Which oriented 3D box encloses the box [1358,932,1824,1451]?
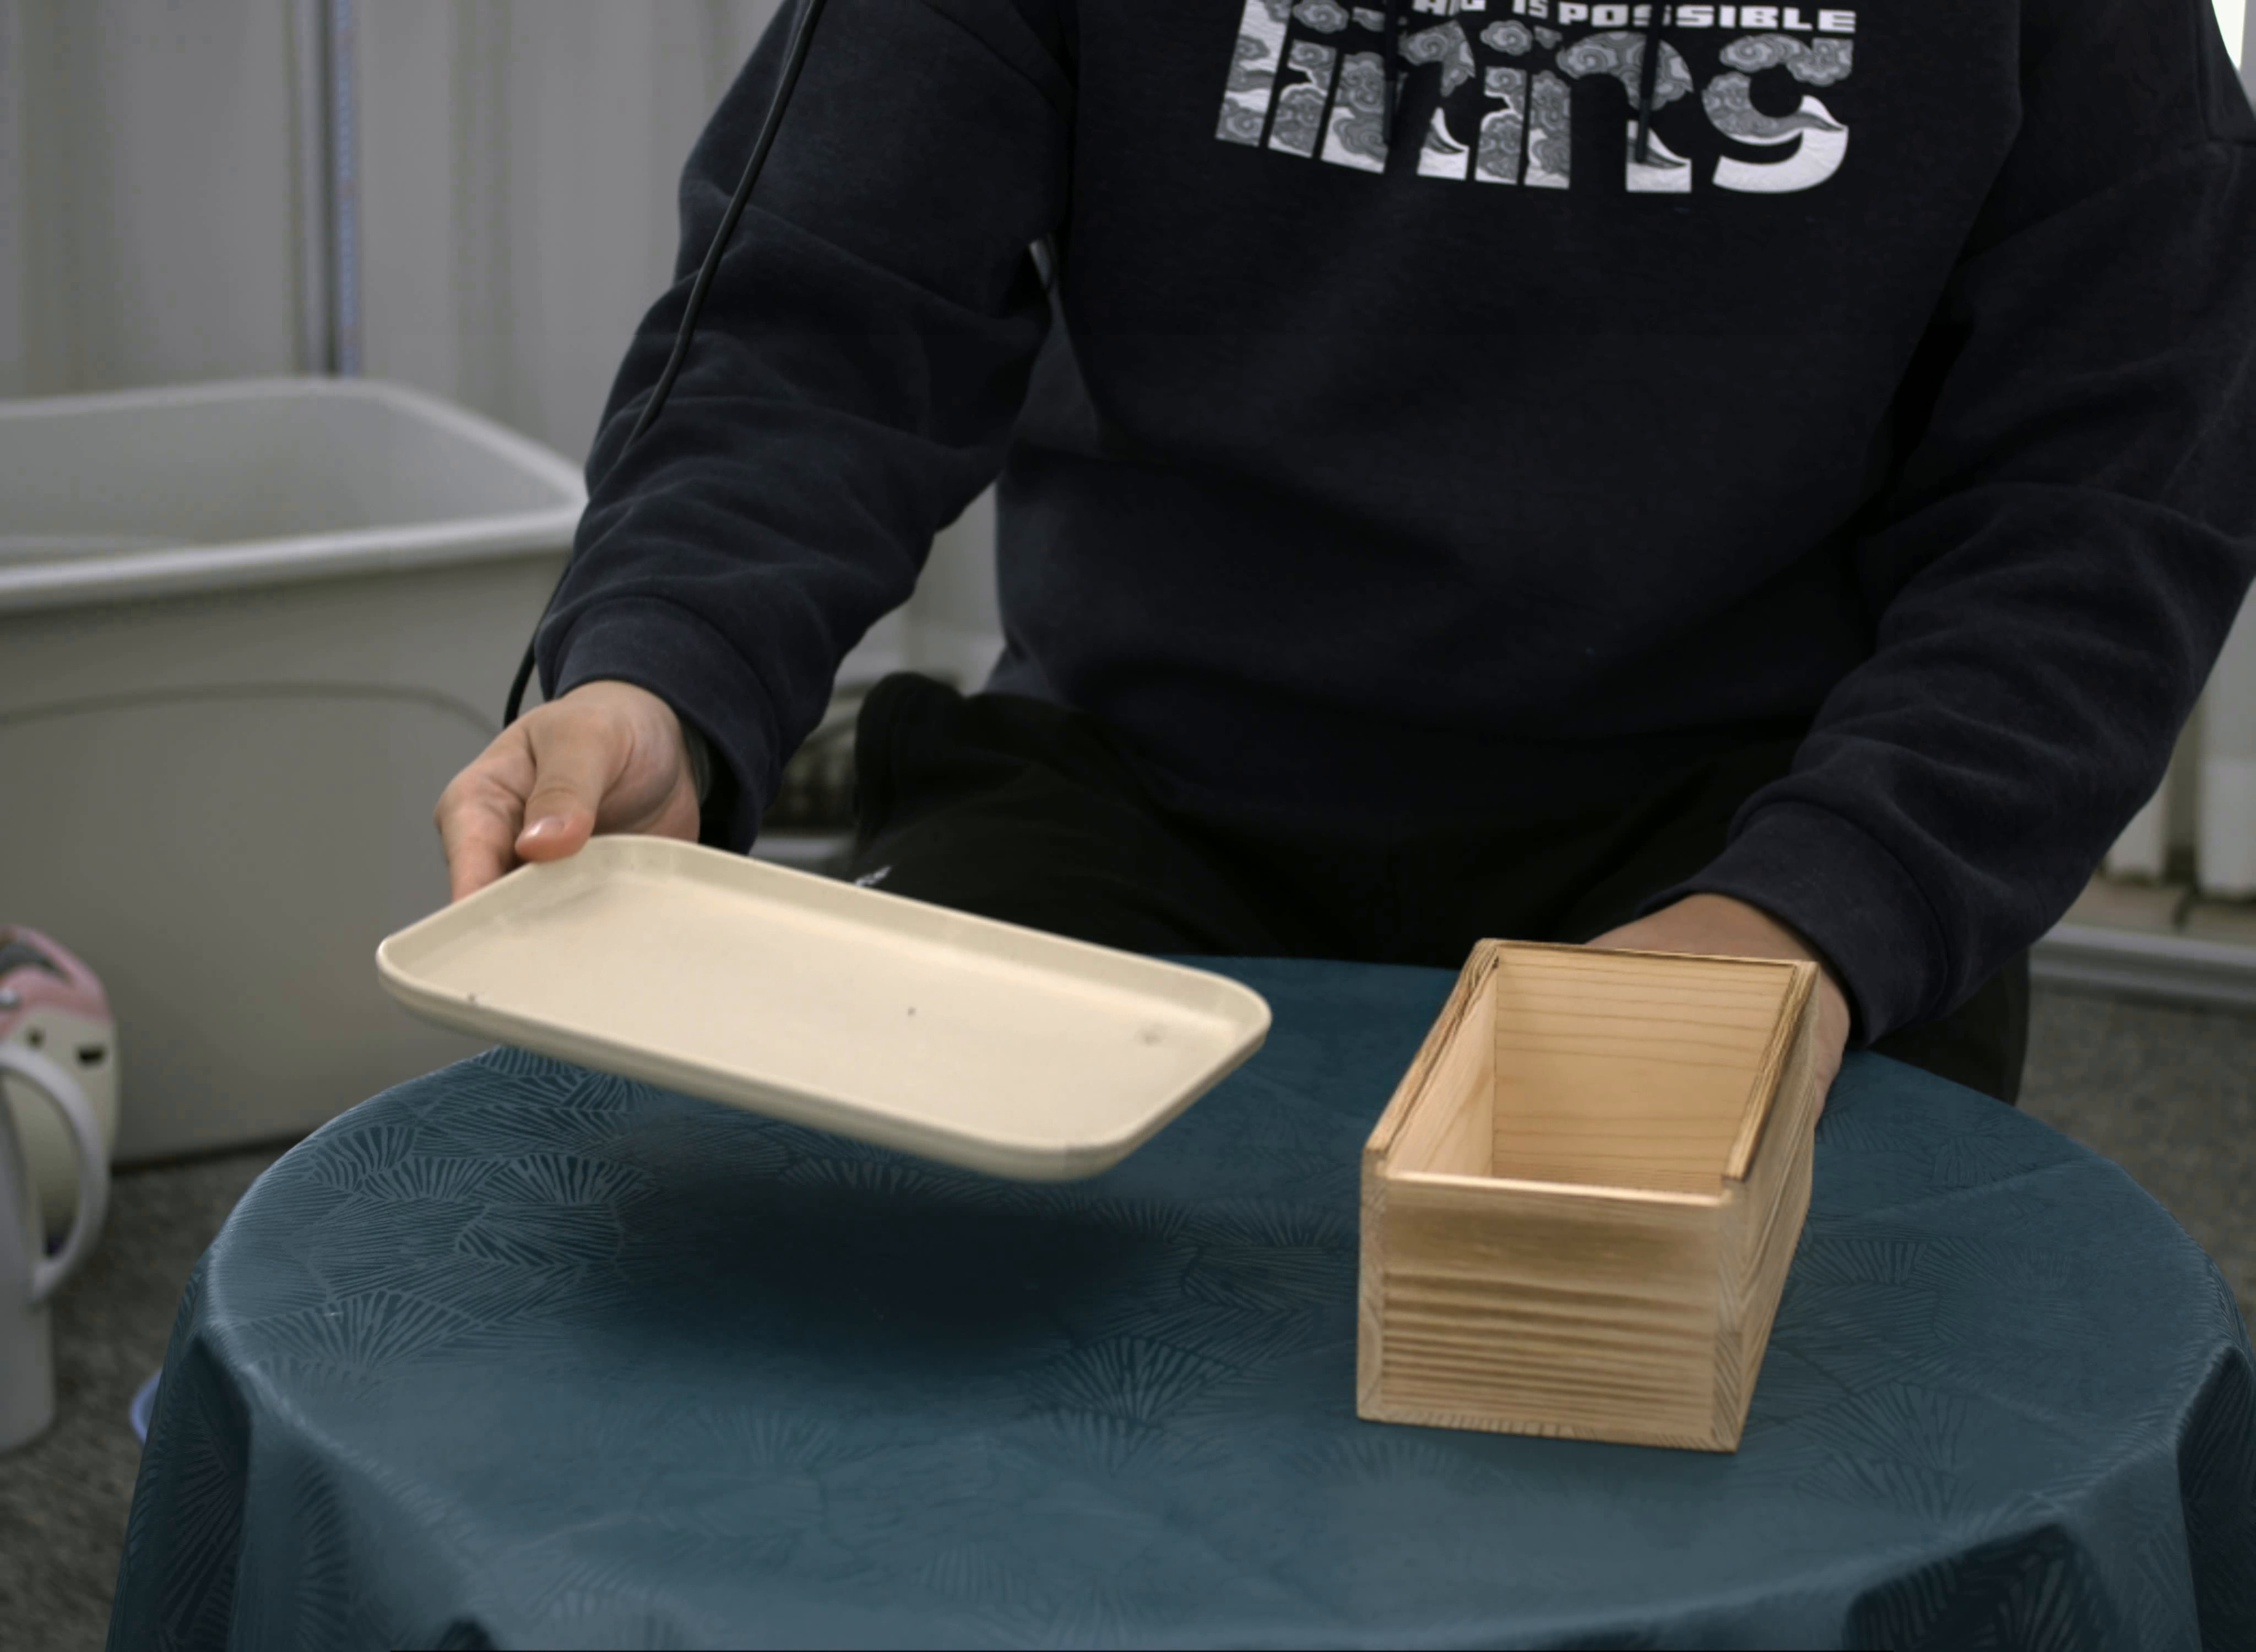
[{"bbox_3d":[0.137,0.101,1.523,0.107,0.081,0.211,4,16,11],"label":"box"}]

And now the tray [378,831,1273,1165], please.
[{"bbox_3d":[-0.088,0.050,1.557,0.237,0.017,0.171,13,18,18],"label":"tray"}]
